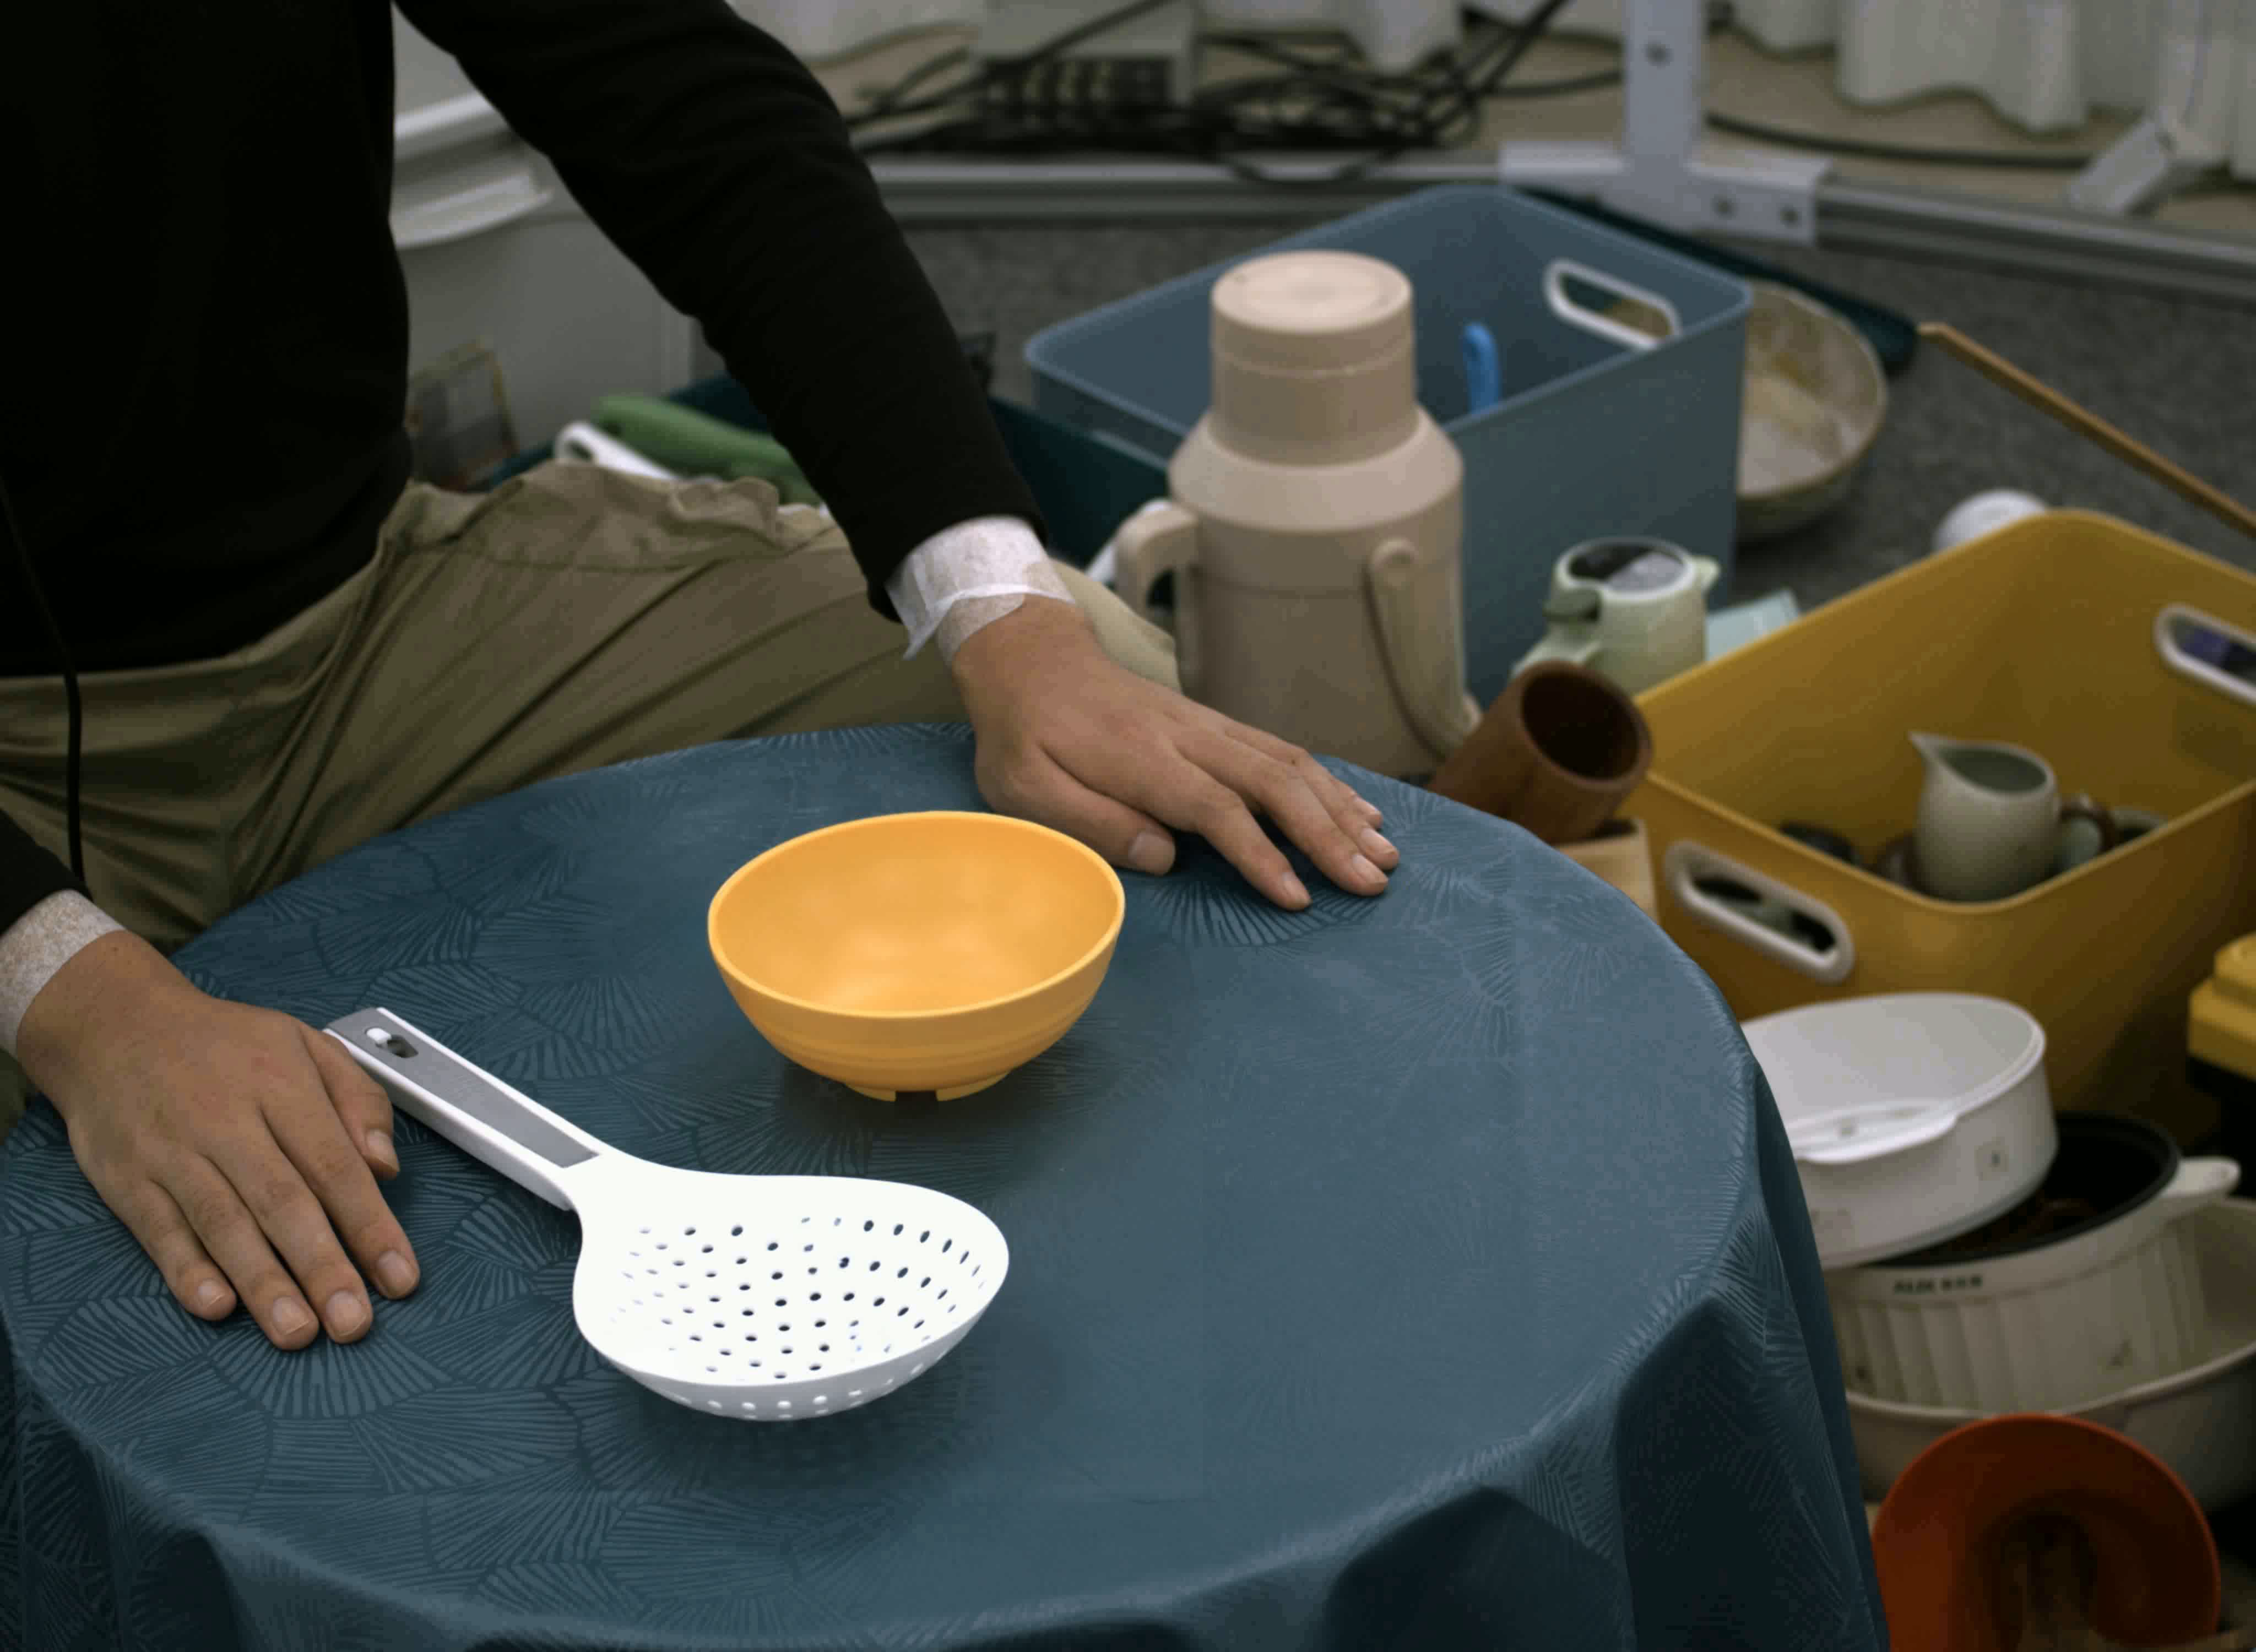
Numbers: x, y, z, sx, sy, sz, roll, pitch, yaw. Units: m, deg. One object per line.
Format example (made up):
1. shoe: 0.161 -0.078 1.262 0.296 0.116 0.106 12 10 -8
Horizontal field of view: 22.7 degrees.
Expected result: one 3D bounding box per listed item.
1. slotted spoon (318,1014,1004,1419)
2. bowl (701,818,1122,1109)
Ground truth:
1. slotted spoon: -0.170 0.120 1.832 0.137 0.045 0.350 -21 31 -32
2. bowl: -0.074 0.056 1.936 0.144 0.059 0.147 0 27 1
